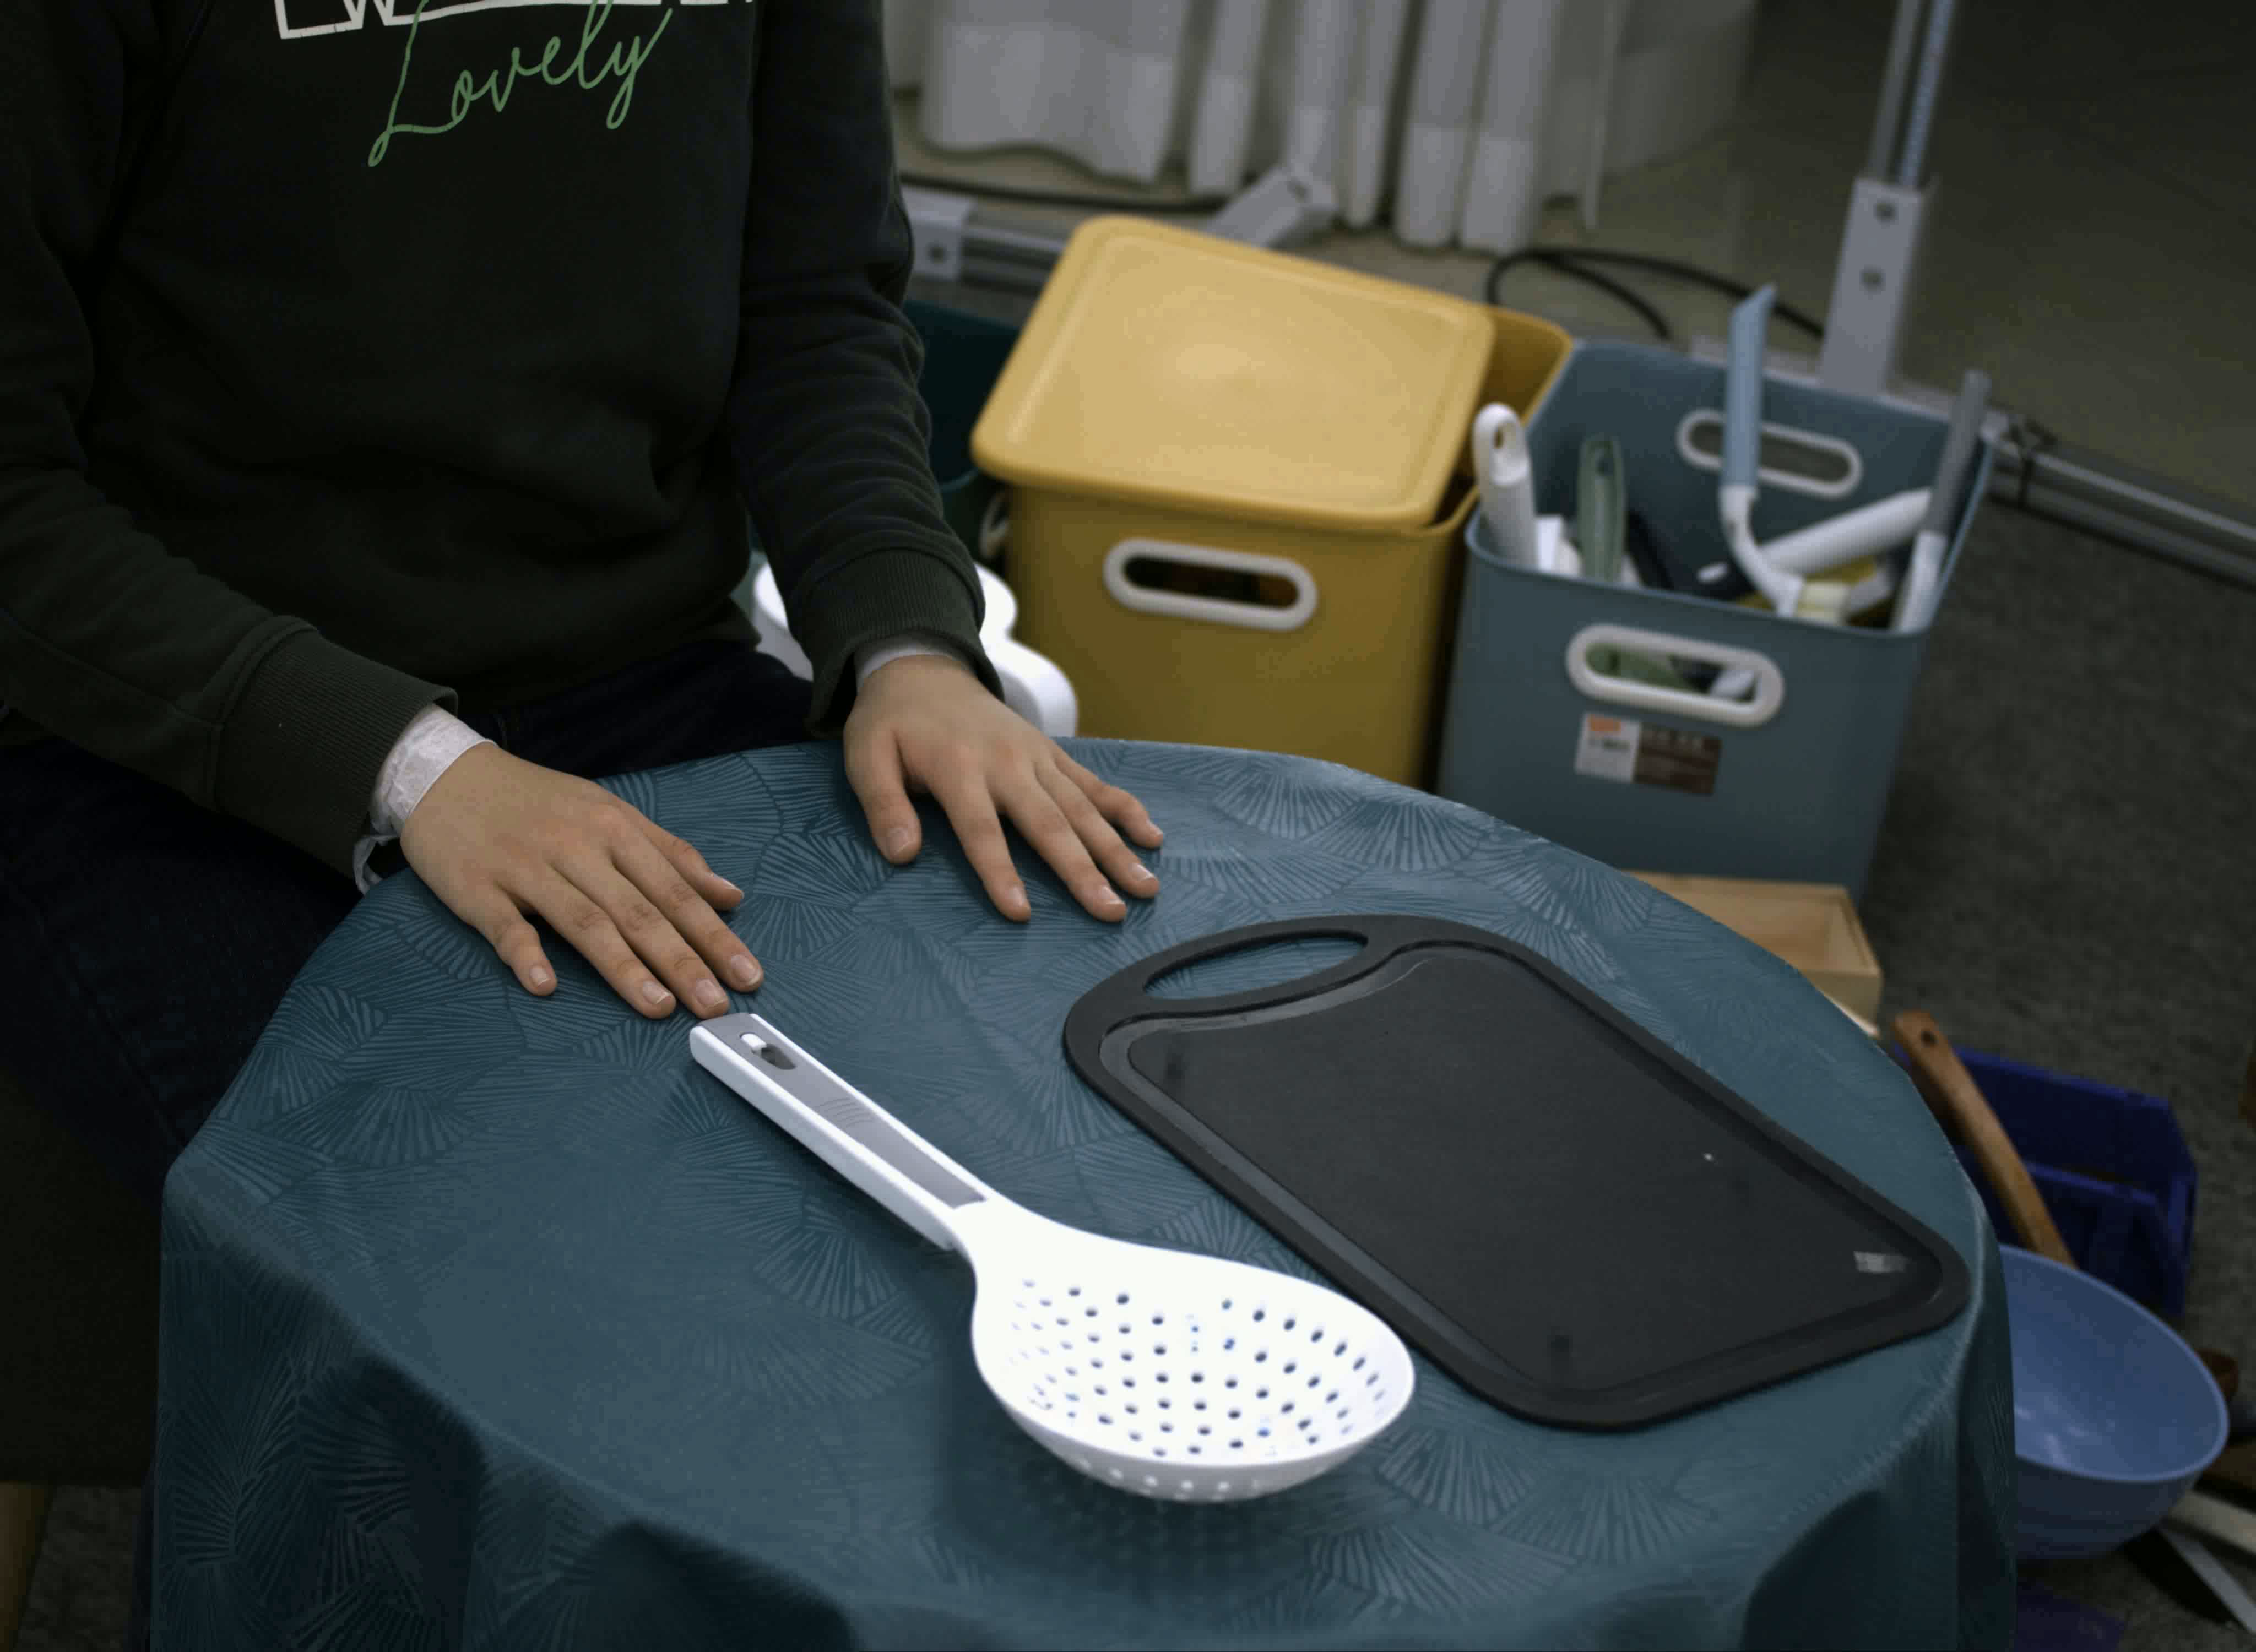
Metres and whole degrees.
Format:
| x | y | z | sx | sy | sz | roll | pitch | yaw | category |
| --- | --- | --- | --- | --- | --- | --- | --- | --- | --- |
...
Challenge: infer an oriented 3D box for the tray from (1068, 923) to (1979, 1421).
| x | y | z | sx | sy | sz | roll | pitch | yaw | category |
| --- | --- | --- | --- | --- | --- | --- | --- | --- | --- |
| 0.128 | 0.110 | 1.848 | 0.210 | 0.010 | 0.328 | -12 | 32 | -33 | tray |

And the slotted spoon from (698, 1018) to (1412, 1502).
| x | y | z | sx | sy | sz | roll | pitch | yaw | category |
| --- | --- | --- | --- | --- | --- | --- | --- | --- | --- |
| -0.042 | 0.134 | 1.720 | 0.135 | 0.045 | 0.353 | -10 | 30 | -33 | slotted spoon |
